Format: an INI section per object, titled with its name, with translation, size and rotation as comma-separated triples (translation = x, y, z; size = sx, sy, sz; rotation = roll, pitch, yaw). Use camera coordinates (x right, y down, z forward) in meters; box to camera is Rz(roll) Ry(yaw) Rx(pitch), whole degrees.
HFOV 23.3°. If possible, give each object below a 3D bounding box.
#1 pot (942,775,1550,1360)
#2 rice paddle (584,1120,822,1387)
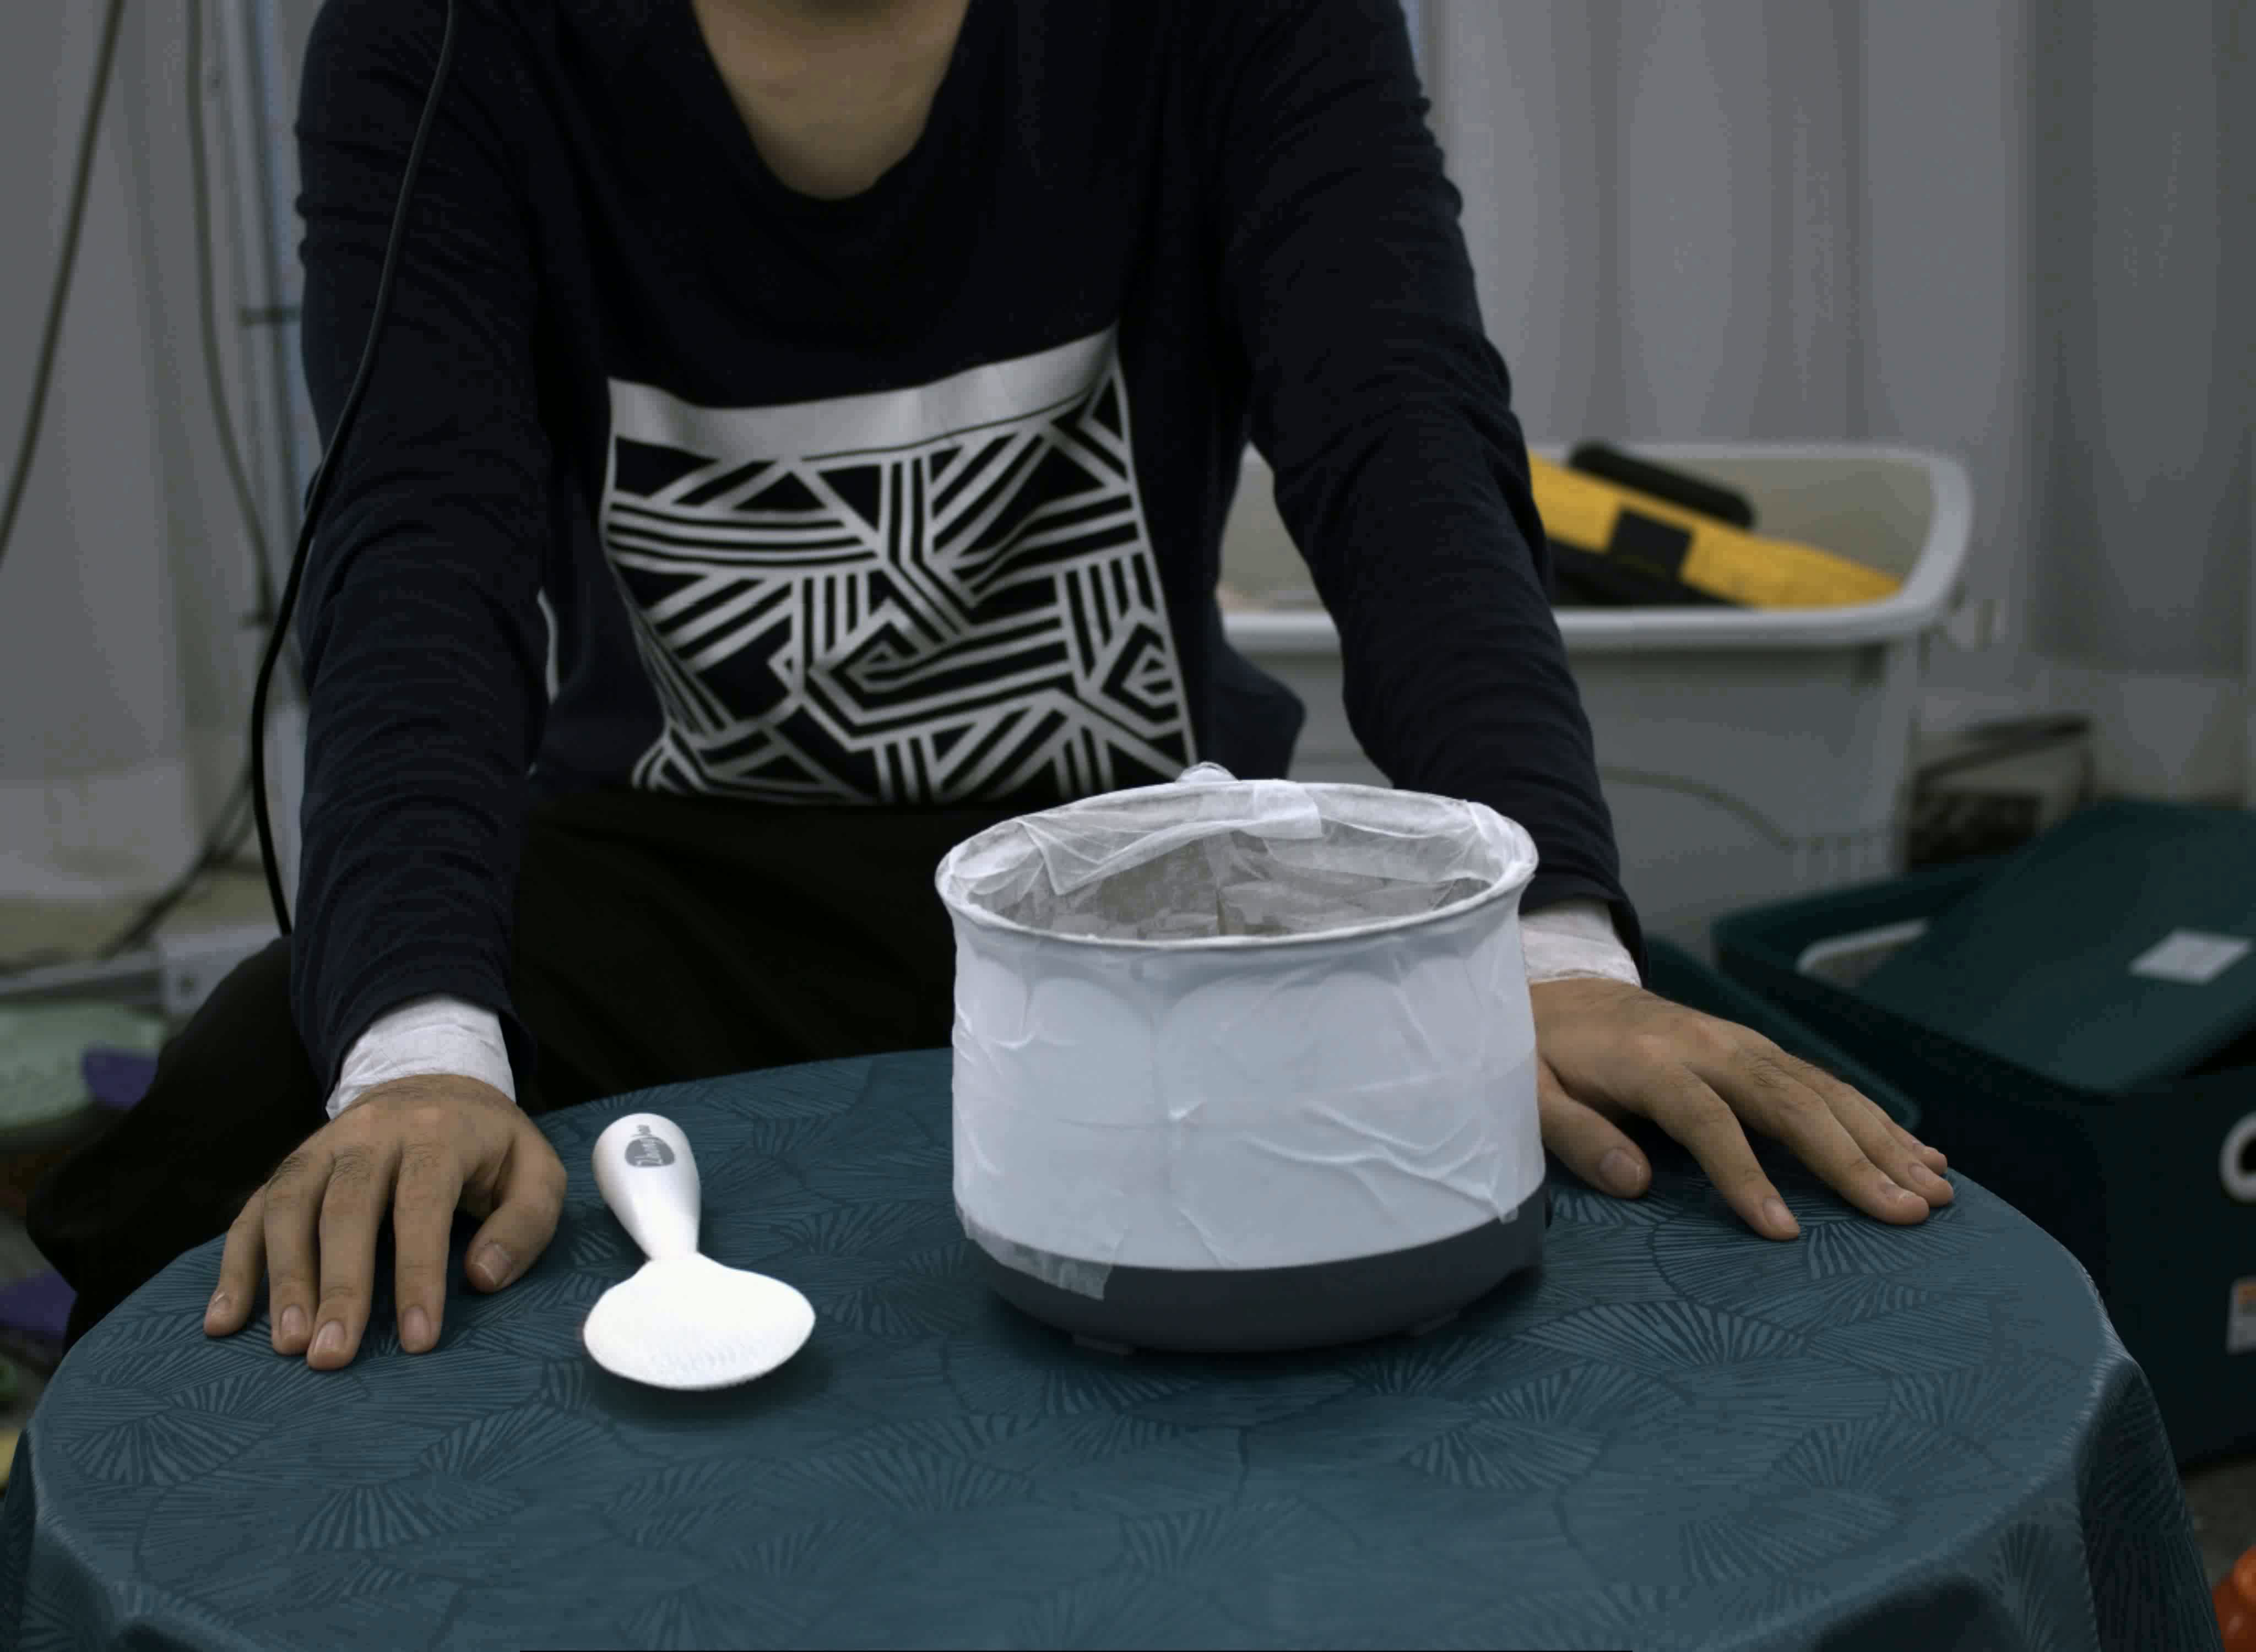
[pot]
translation = 0.033, 0.067, 1.640
size = 0.178, 0.136, 0.235
rotation = -2, 13, -4
[rice paddle]
translation = -0.134, 0.130, 1.632
size = 0.068, 0.029, 0.207
rotation = -7, 14, -10
